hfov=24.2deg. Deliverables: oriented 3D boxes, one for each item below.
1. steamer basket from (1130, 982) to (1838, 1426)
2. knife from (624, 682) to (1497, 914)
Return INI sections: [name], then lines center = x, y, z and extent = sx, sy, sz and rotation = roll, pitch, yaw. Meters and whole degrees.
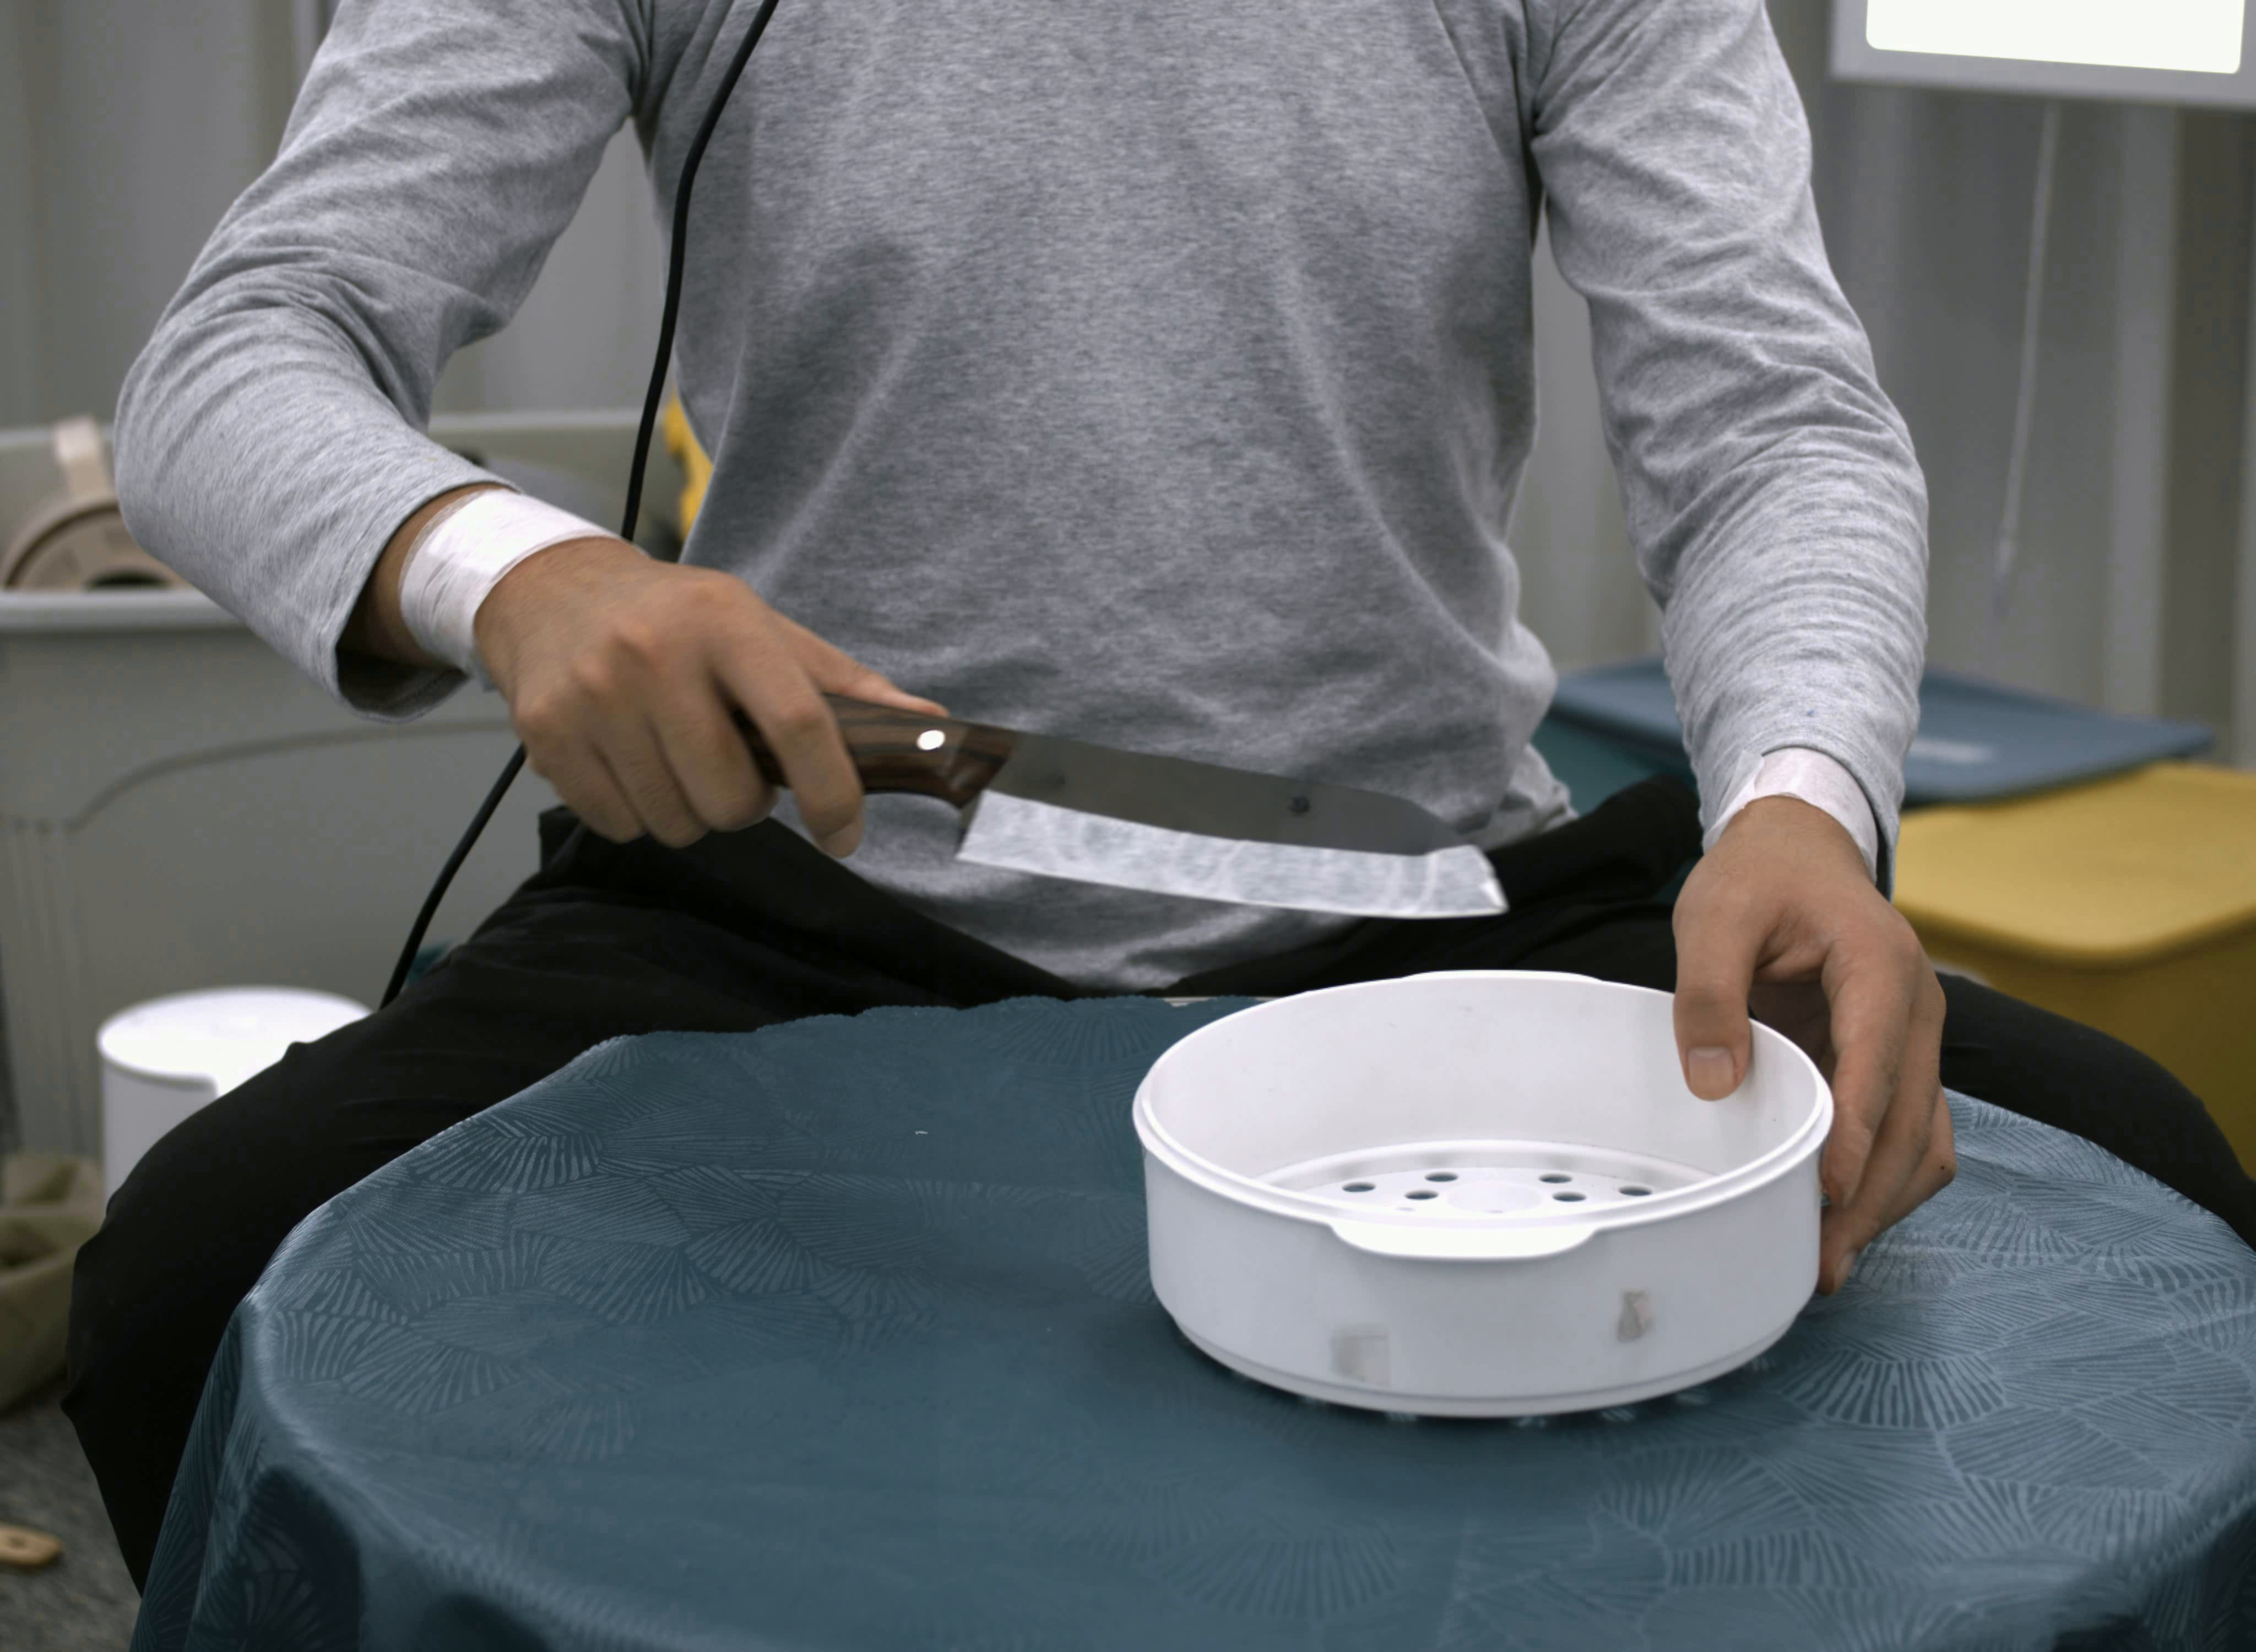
[steamer basket]
center = 0.102, 0.108, 1.509
extent = 0.201, 0.070, 0.230
rotation = 1, 17, 7
[knife]
center = -0.024, -0.008, 1.504
extent = 0.286, 0.050, 0.020
rotation = 11, -24, 26
